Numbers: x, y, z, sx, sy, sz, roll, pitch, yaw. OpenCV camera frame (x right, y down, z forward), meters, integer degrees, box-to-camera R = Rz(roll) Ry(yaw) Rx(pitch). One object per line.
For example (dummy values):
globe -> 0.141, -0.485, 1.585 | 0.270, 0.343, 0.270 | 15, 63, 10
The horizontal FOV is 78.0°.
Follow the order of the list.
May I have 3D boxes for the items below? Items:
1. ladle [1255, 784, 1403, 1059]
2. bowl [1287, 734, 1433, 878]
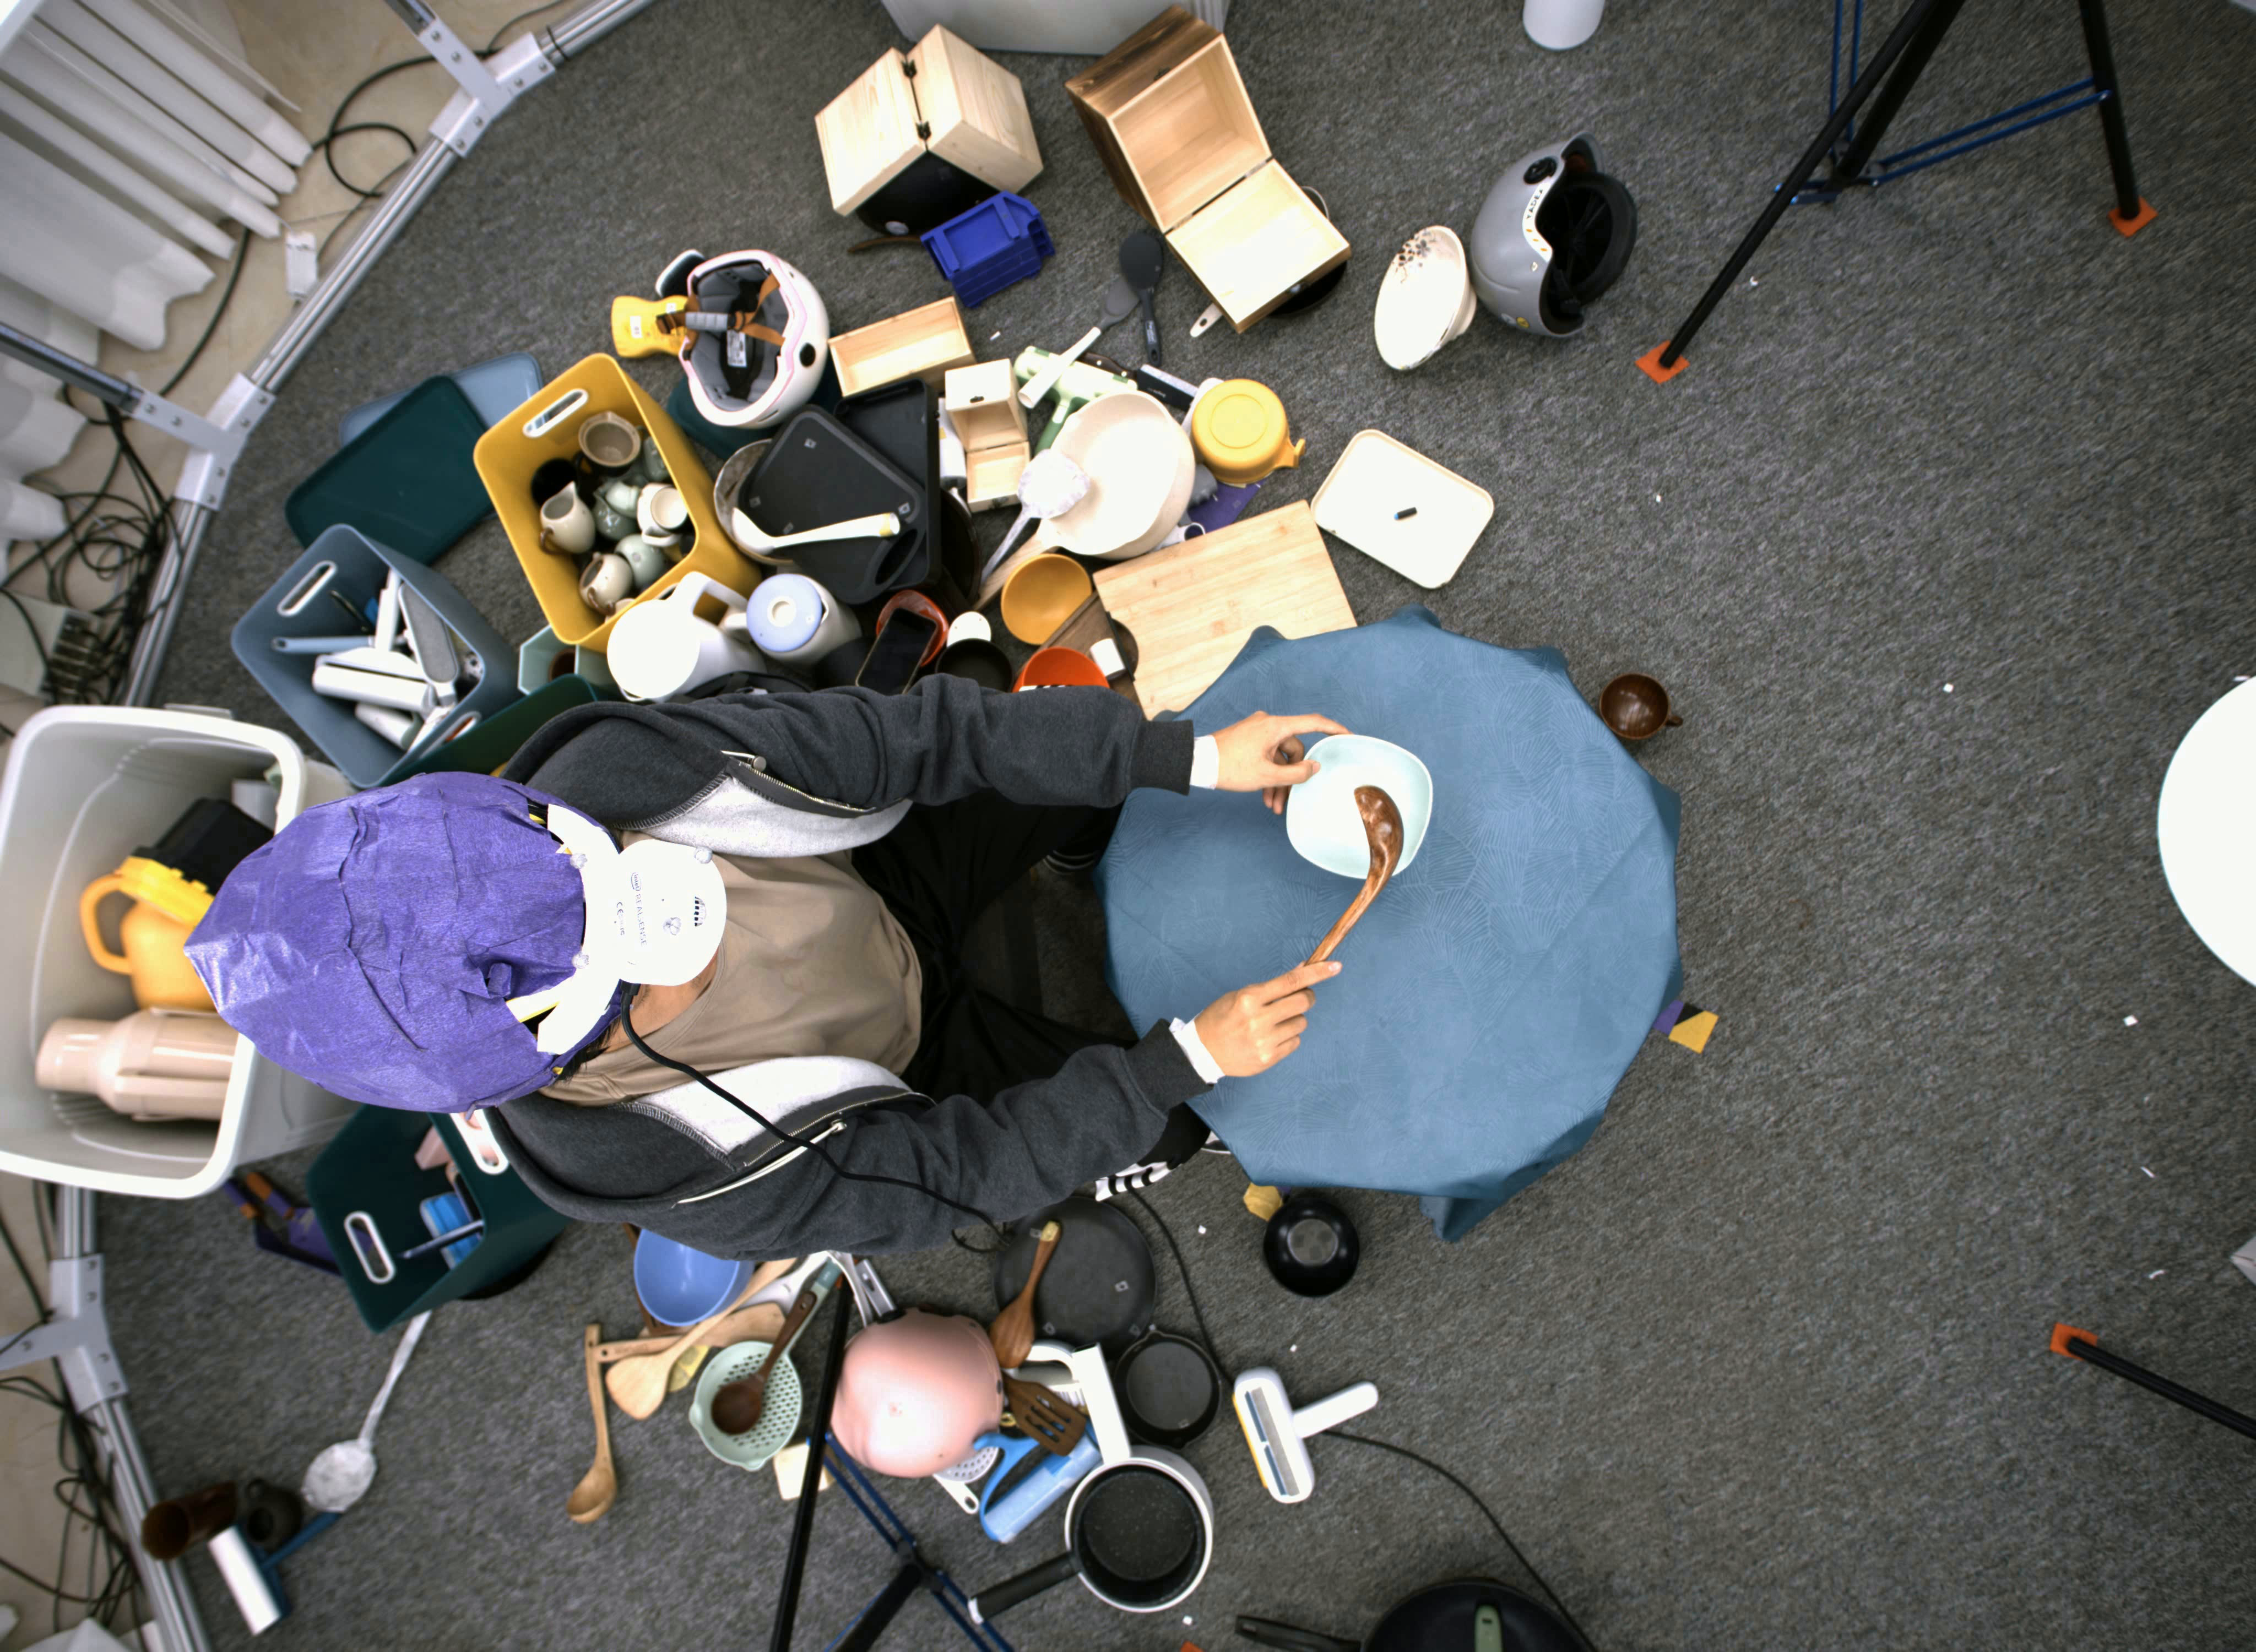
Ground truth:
ladle -> 0.173, 0.087, 1.297 | 0.076, 0.081, 0.276 | 37, 102, 19
bowl -> 0.229, -0.022, 1.381 | 0.152, 0.058, 0.152 | 0, 96, 4
